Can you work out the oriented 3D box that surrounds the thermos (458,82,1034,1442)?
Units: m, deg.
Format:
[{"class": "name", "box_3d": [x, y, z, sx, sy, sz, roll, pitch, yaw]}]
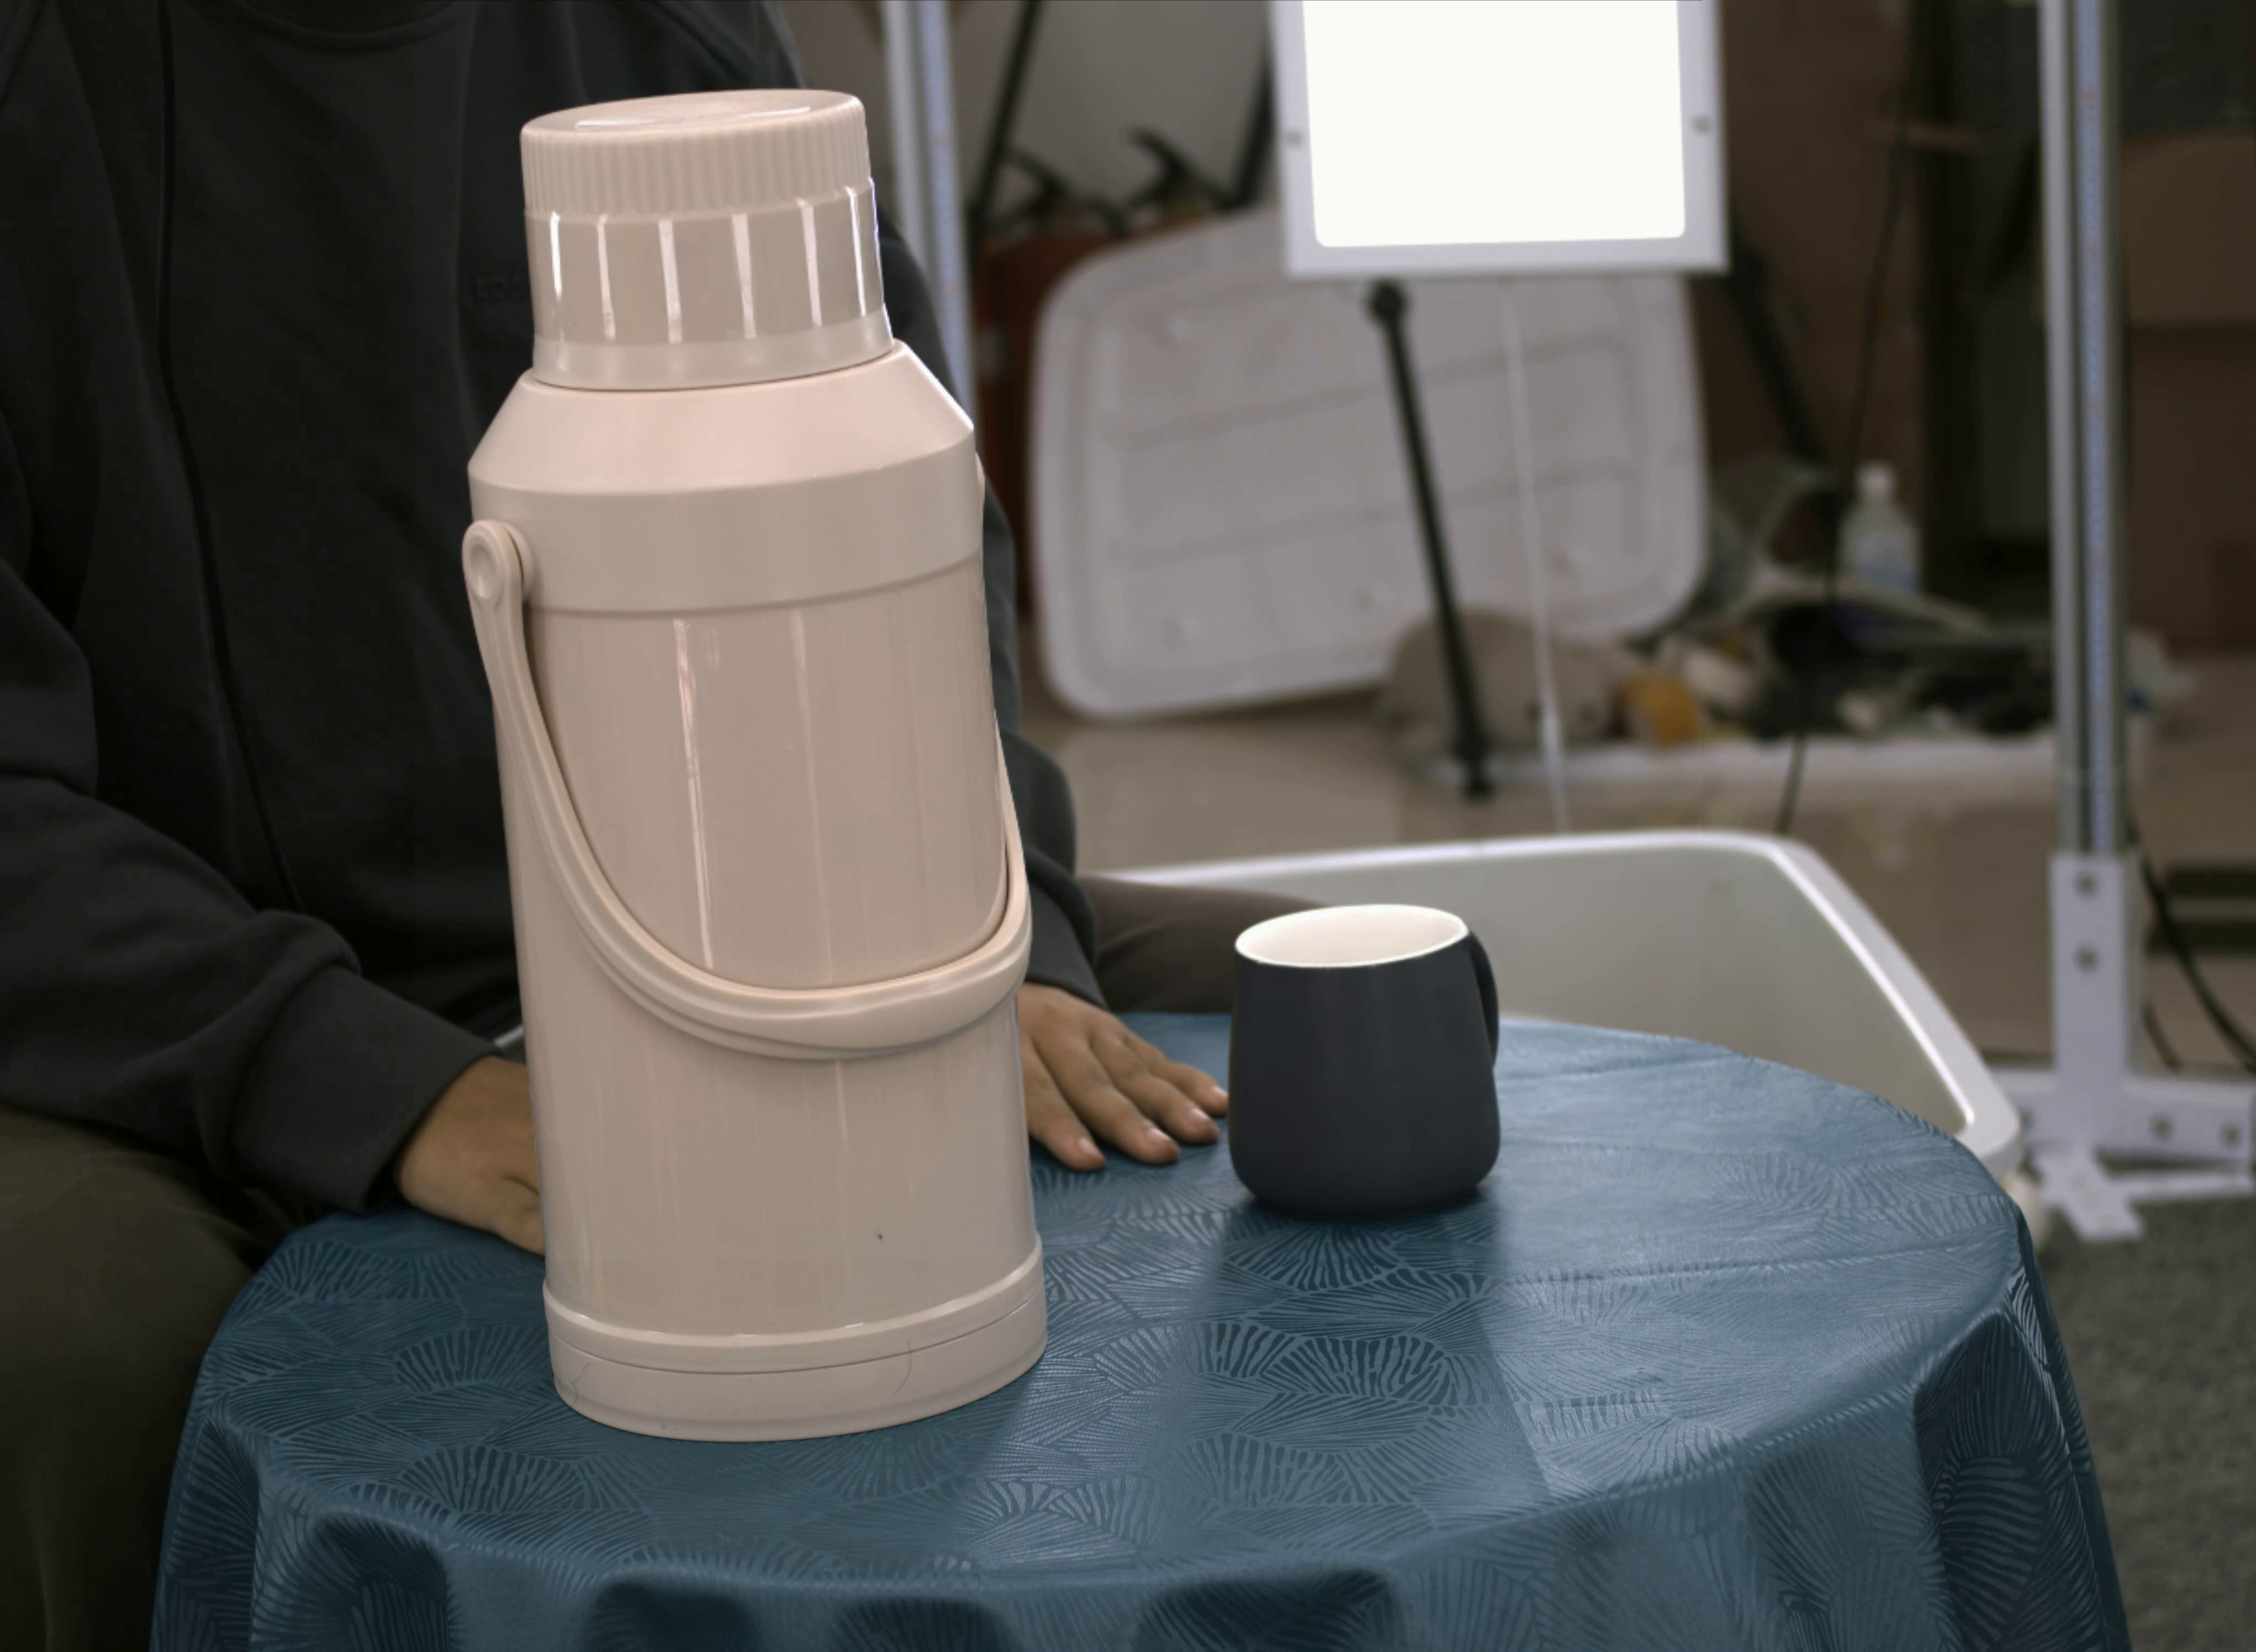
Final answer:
[{"class": "thermos", "box_3d": [-0.127, -0.025, 1.722, 0.171, 0.408, 0.211, -14, 17, -33]}]

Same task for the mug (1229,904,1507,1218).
[{"class": "mug", "box_3d": [0.089, 0.076, 1.881, 0.095, 0.090, 0.120, 7, 18, 41]}]
